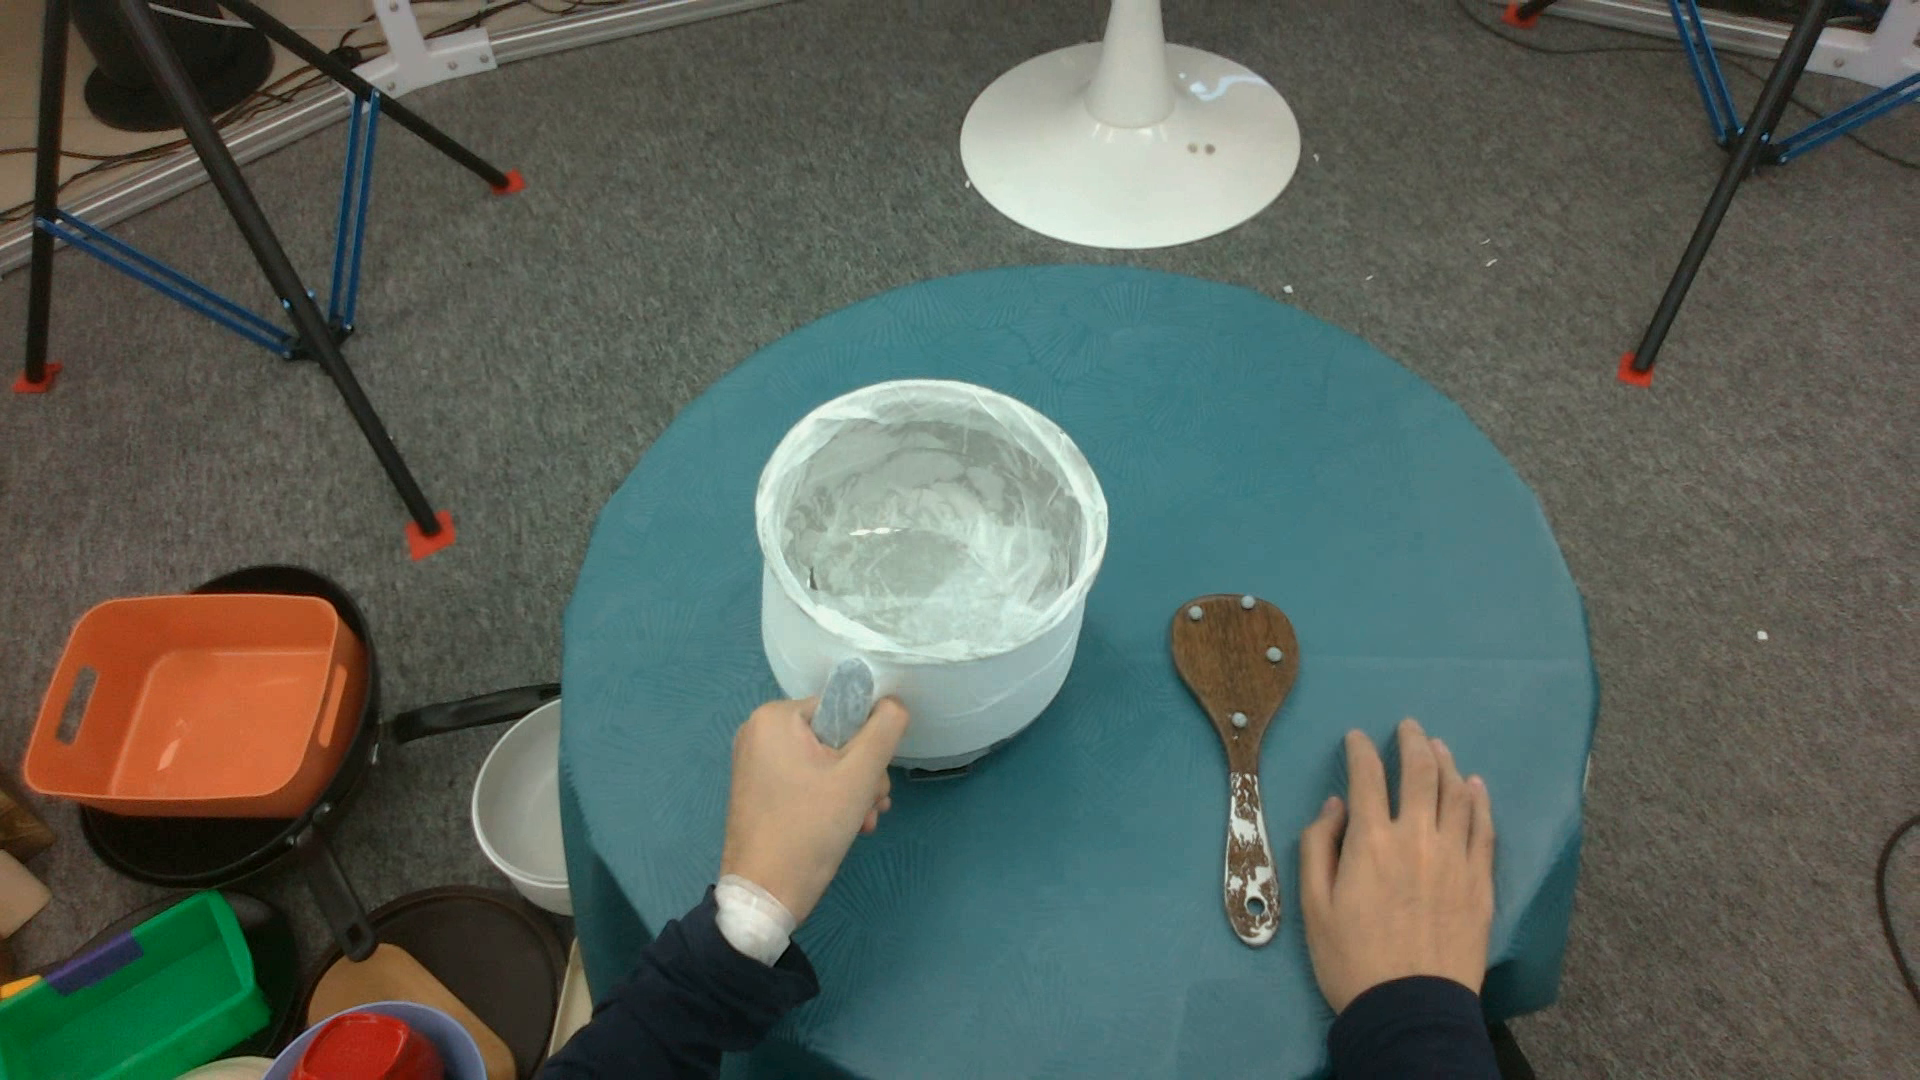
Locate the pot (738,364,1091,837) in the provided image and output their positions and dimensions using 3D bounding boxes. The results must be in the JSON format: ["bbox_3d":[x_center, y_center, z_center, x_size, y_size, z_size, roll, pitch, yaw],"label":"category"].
[{"bbox_3d":[-0.038,0.035,0.720,0.178,0.136,0.235,19,53,6],"label":"pot"}]

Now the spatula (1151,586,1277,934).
[{"bbox_3d":[0.141,0.111,0.752,0.072,0.009,0.217,2,52,4],"label":"spatula"}]
